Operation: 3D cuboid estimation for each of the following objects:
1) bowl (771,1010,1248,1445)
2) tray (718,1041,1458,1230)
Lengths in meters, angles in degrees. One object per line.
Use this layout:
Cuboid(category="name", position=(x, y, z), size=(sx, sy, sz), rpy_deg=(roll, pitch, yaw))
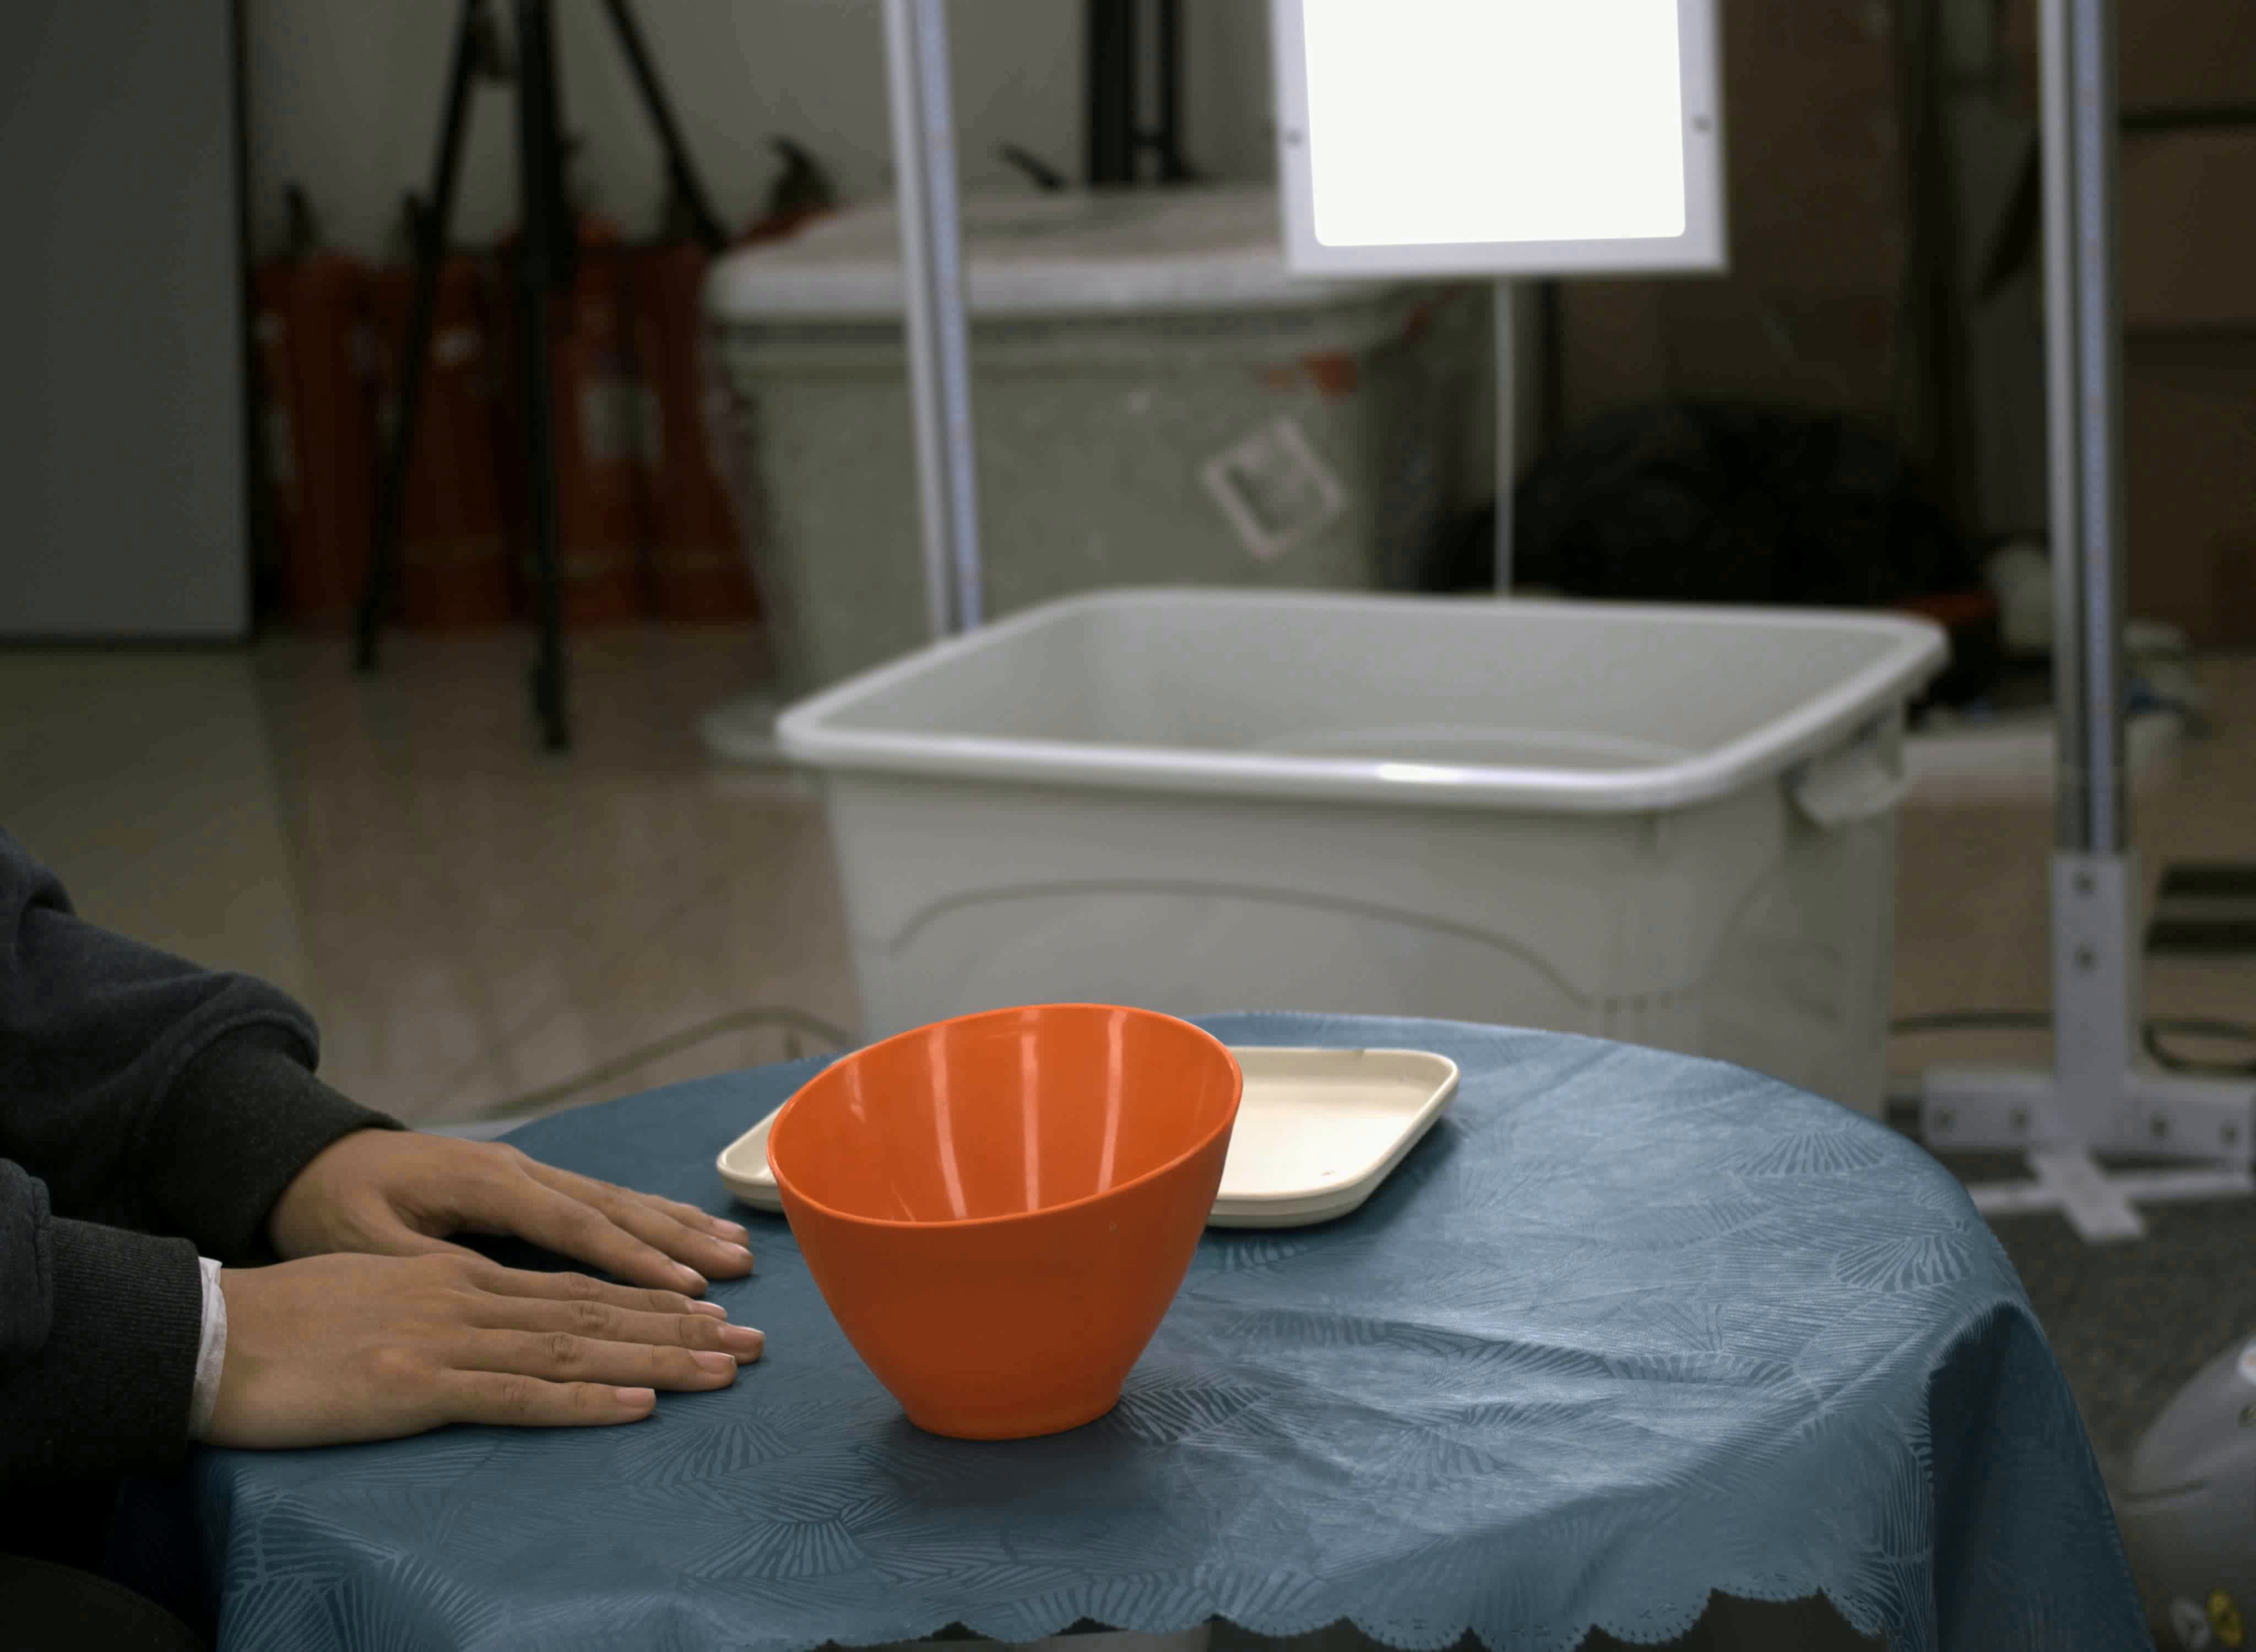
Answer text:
Cuboid(category="bowl", position=(-0.034, 0.127, 1.695), size=(0.147, 0.105, 0.148), rpy_deg=(-4, 14, 0))
Cuboid(category="tray", position=(-0.012, 0.109, 1.938), size=(0.243, 0.017, 0.168), rpy_deg=(0, 15, 21))
